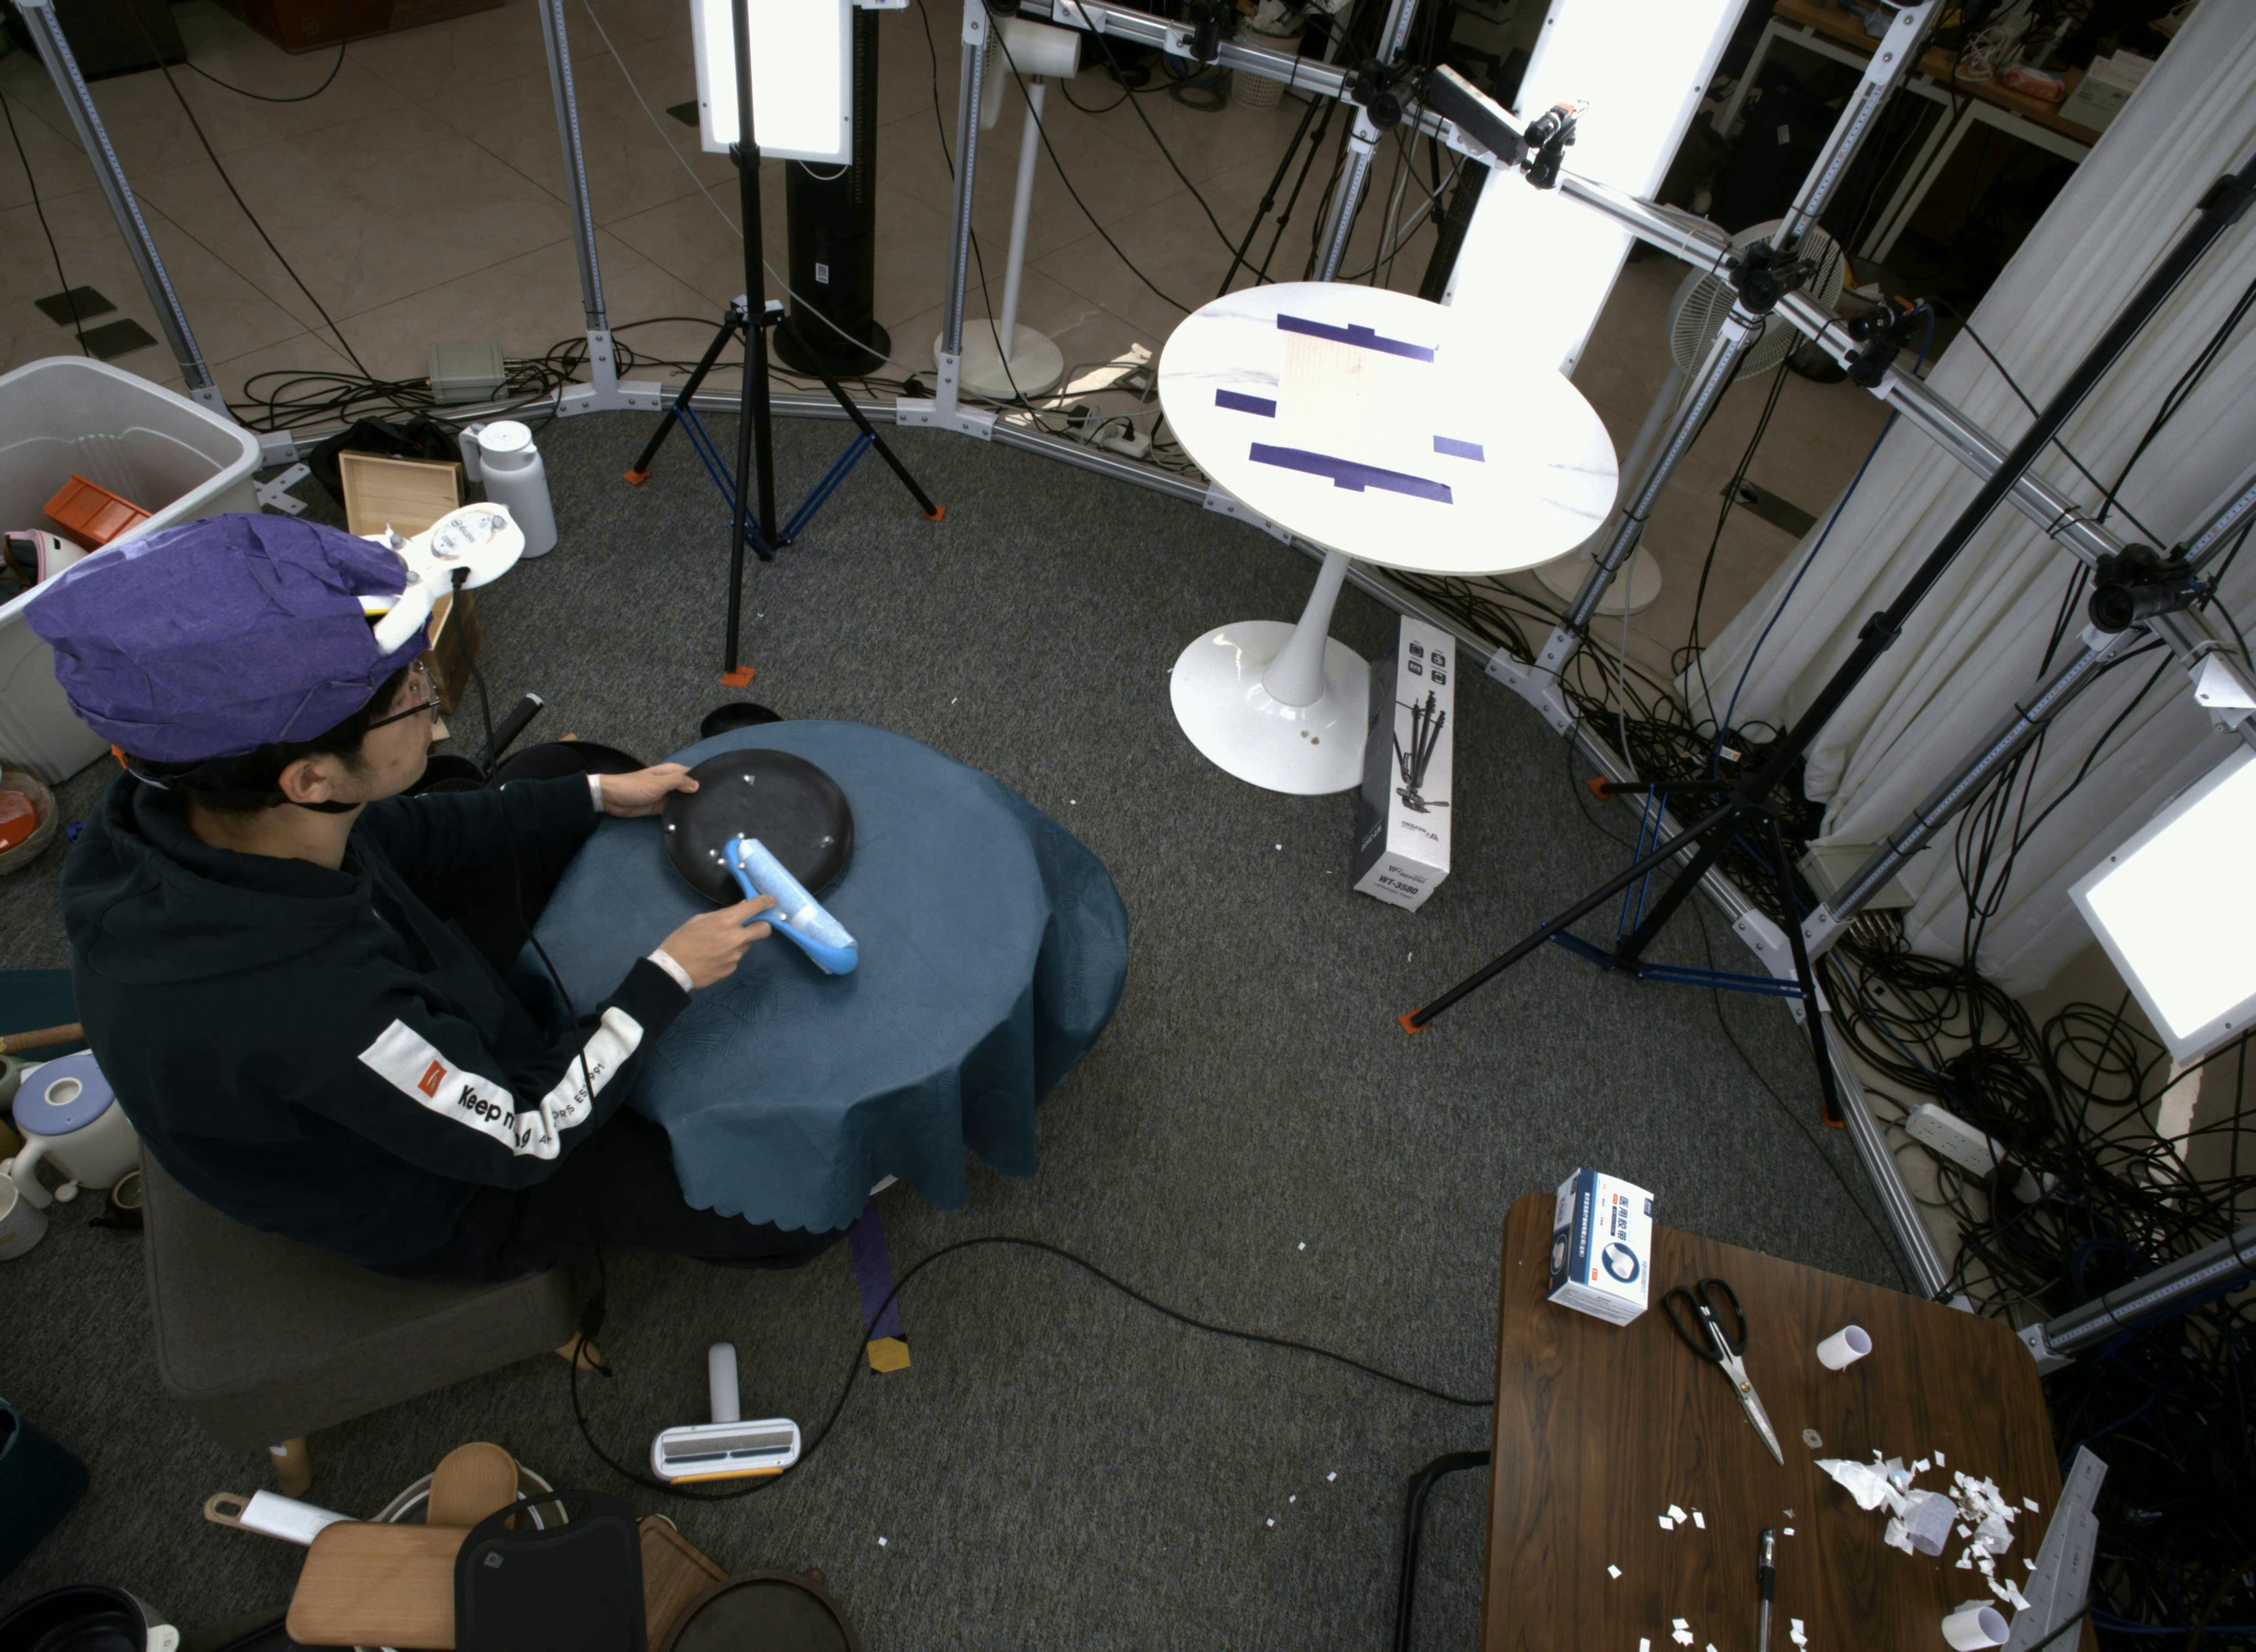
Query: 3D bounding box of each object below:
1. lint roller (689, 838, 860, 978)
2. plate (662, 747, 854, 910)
[{"bbox_3d":[-0.450,0.119,1.563,0.226,0.068,0.181,42,42,9],"label":"lint roller"},{"bbox_3d":[-0.480,0.004,1.682,0.245,0.023,0.241,10,58,-14],"label":"plate"}]
